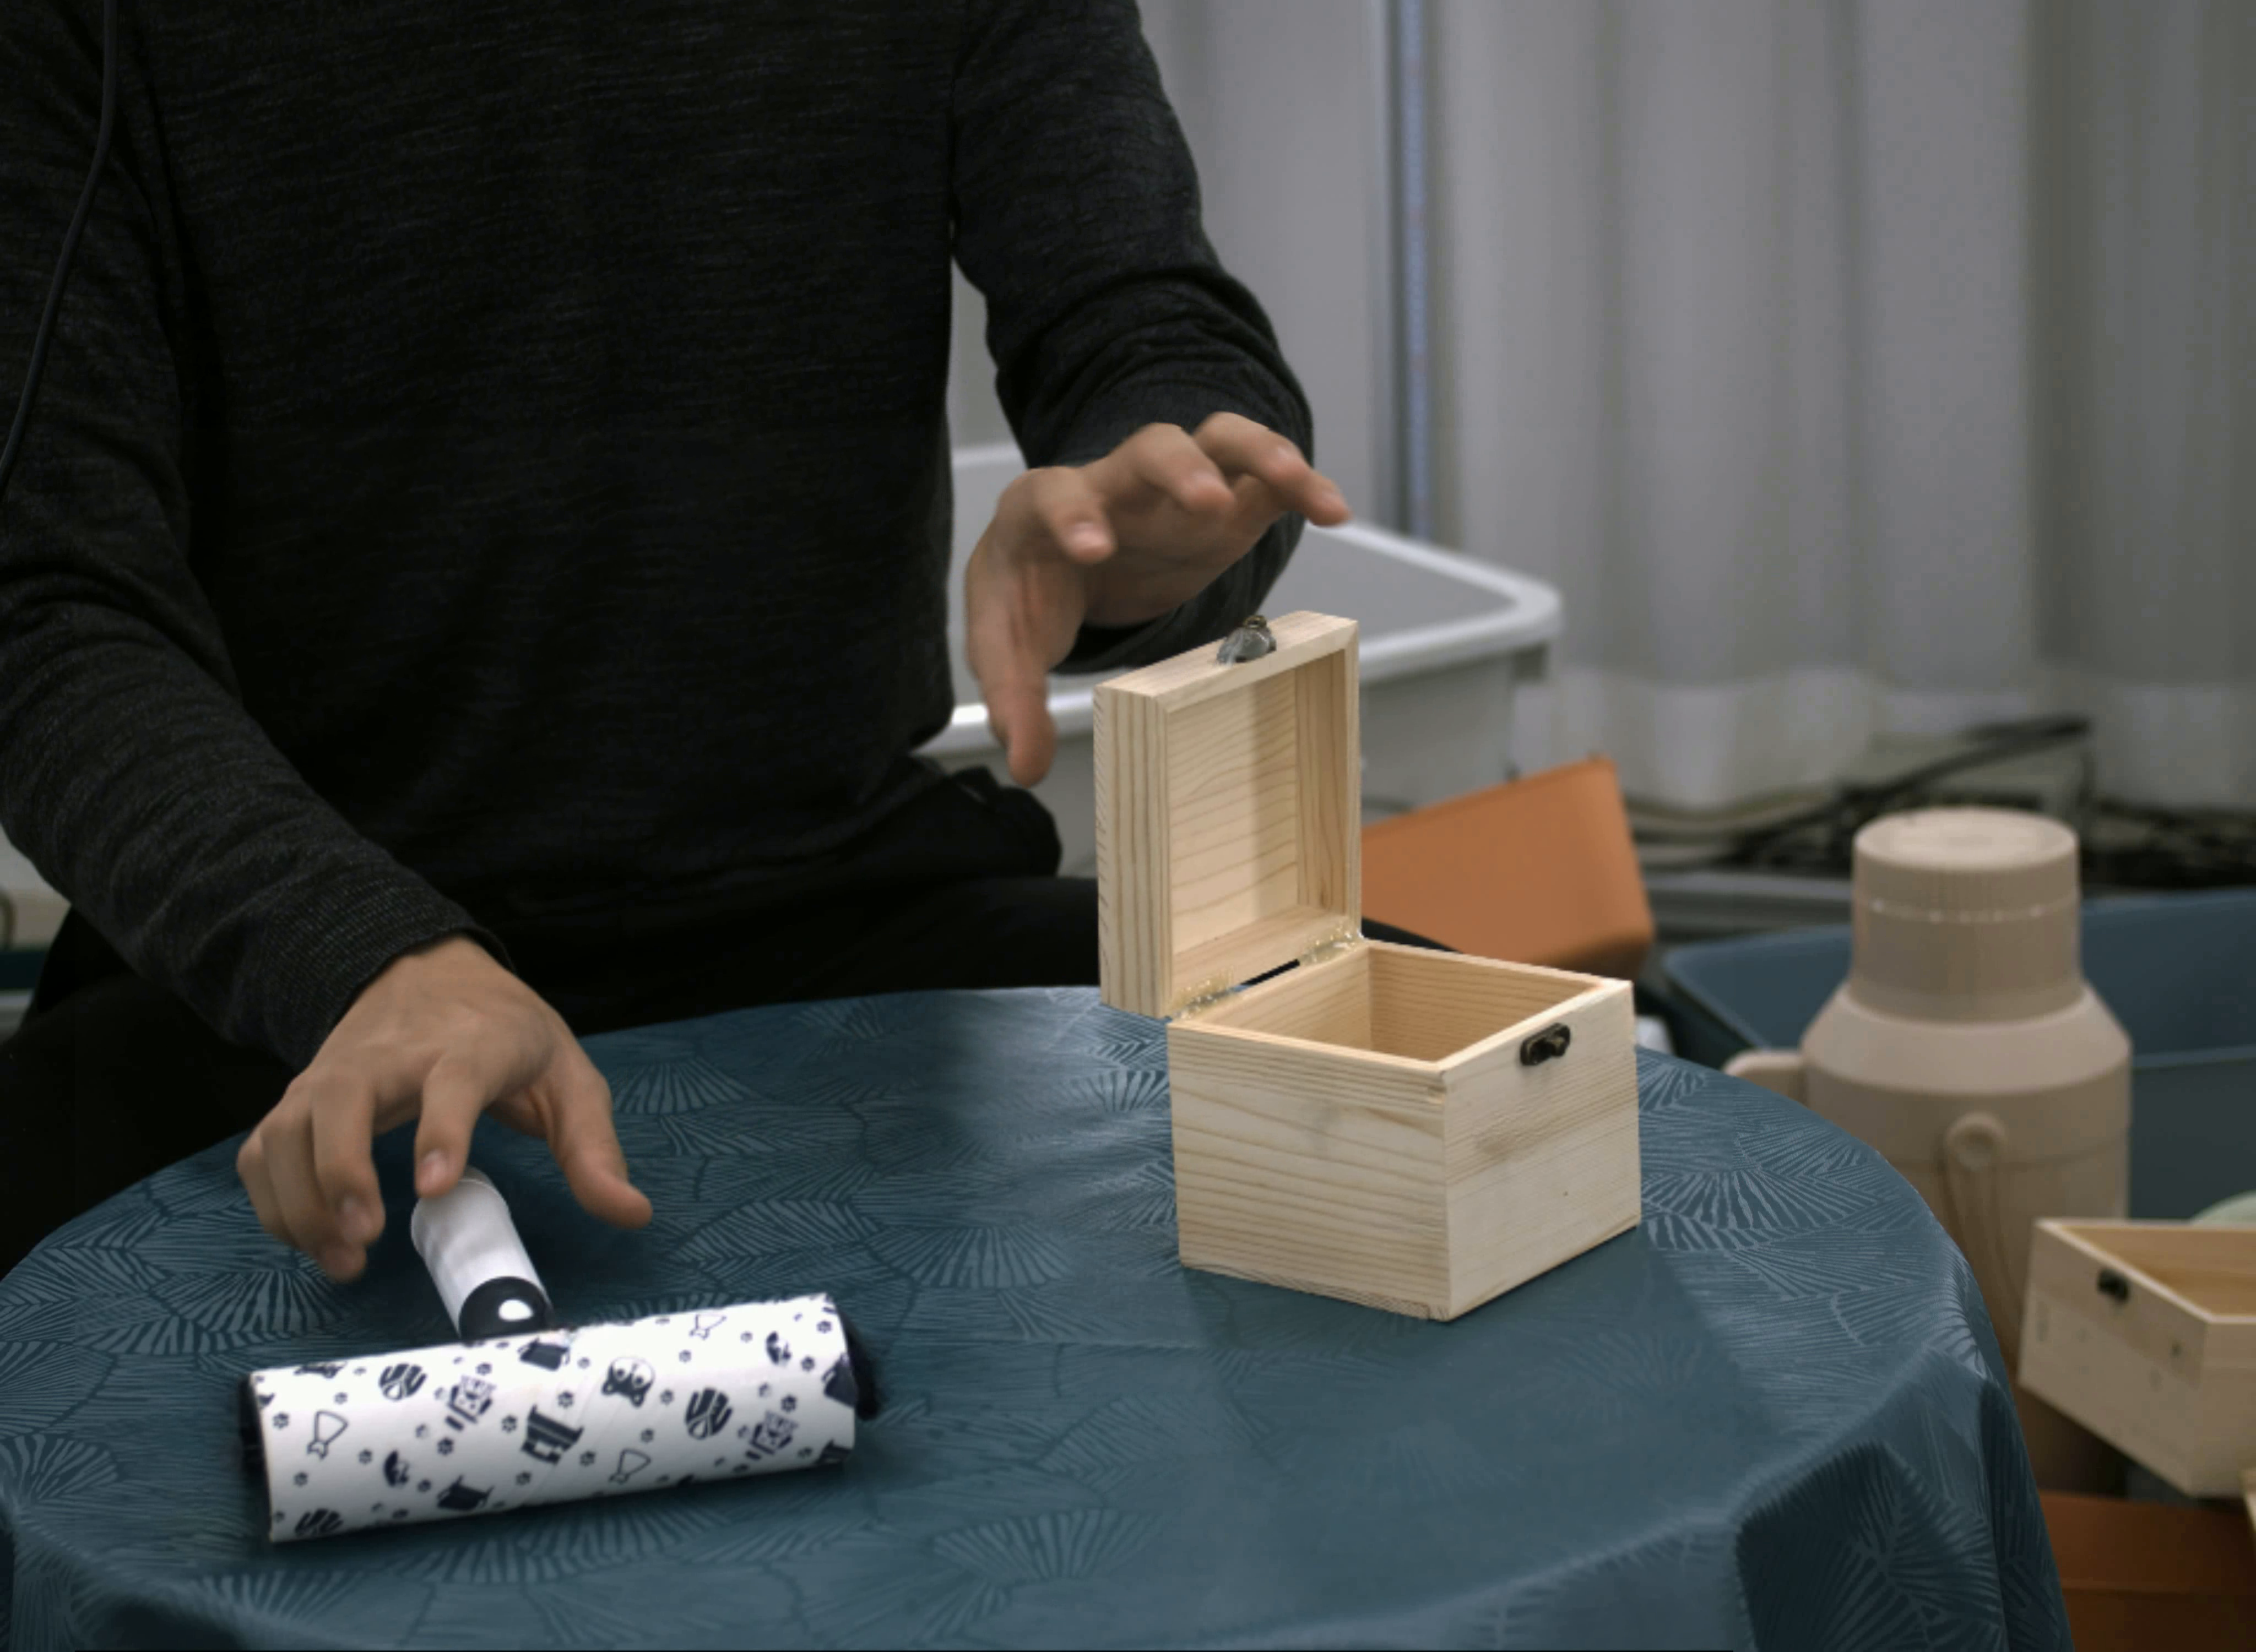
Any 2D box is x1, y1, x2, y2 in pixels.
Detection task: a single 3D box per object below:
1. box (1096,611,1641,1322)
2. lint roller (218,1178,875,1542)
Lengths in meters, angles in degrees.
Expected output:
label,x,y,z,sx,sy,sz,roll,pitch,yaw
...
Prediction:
label,x,y,z,sx,sy,sz,roll,pitch,yaw
box,0.074,0.038,1.635,0.134,0.184,0.102,7,16,38
lint roller,-0.183,0.138,1.579,0.175,0.050,0.249,-8,15,-13
